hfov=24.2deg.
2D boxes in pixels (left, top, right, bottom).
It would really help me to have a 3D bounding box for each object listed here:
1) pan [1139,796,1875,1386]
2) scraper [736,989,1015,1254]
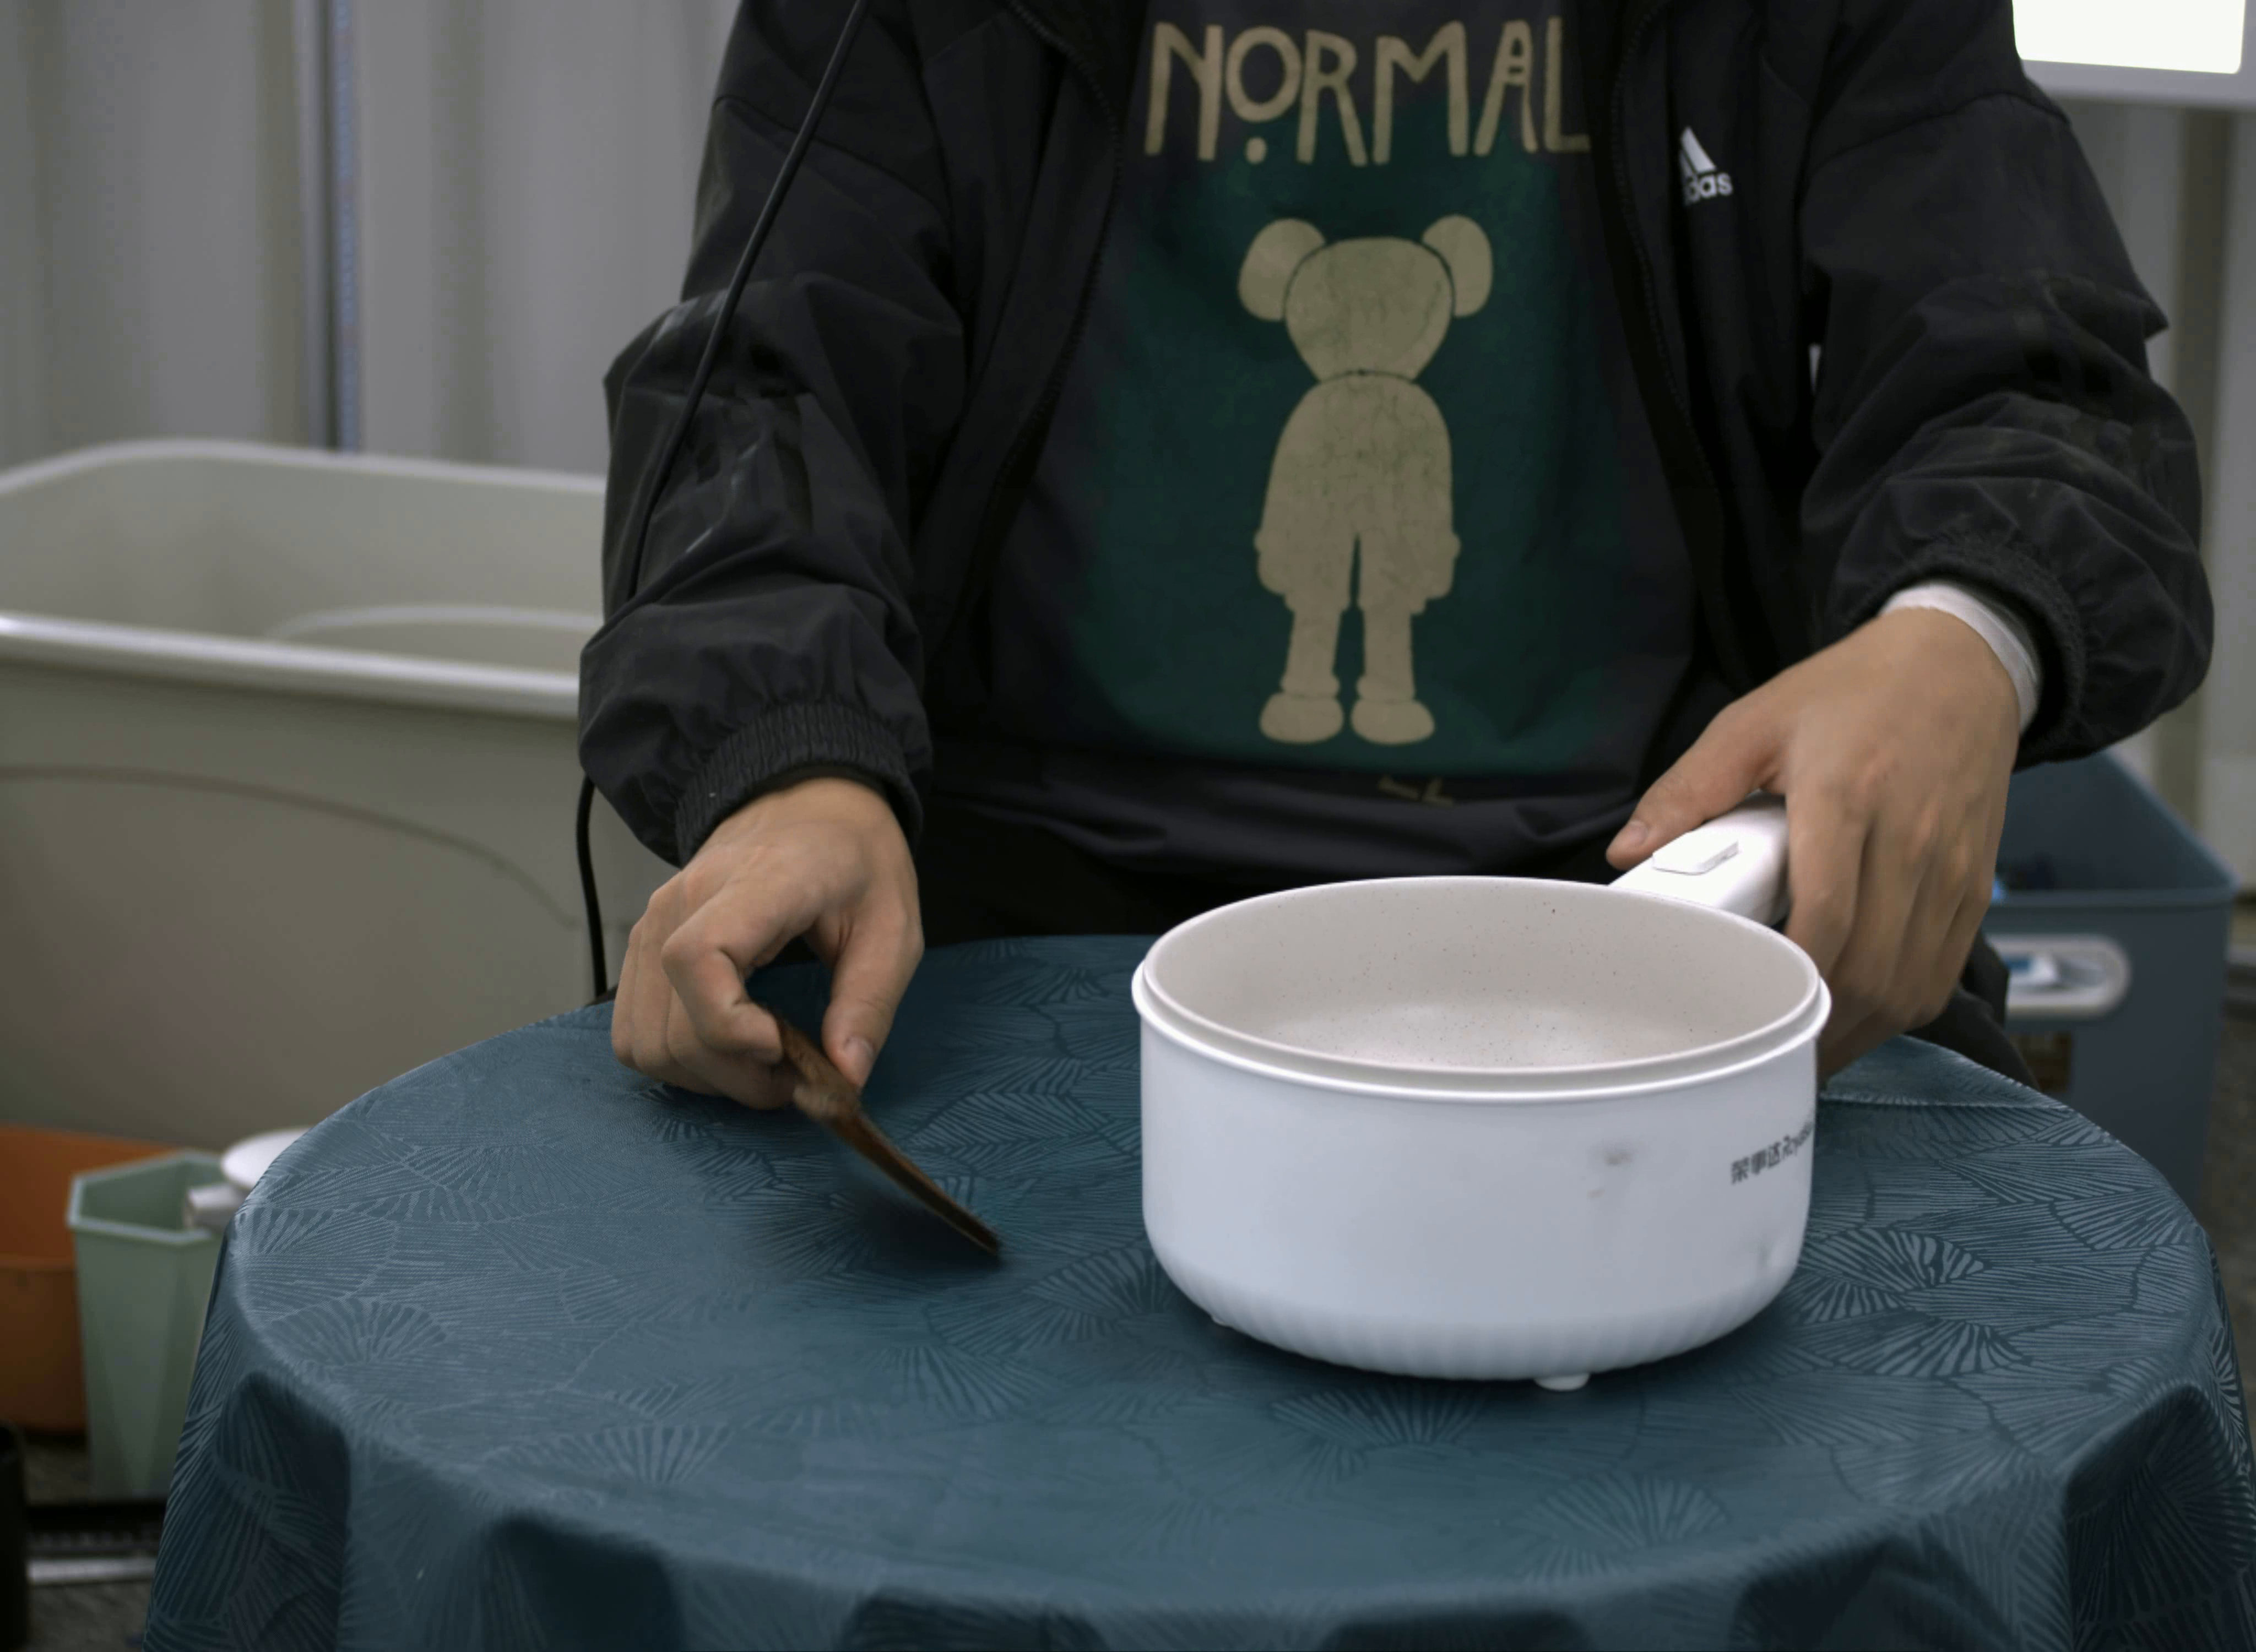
[{"bbox_3d":[0.139,0.072,1.590,0.199,0.103,0.356,9,16,27],"label":"pan"},{"bbox_3d":[-0.090,0.085,1.636,0.076,0.011,0.209,35,2,-22],"label":"scraper"}]
